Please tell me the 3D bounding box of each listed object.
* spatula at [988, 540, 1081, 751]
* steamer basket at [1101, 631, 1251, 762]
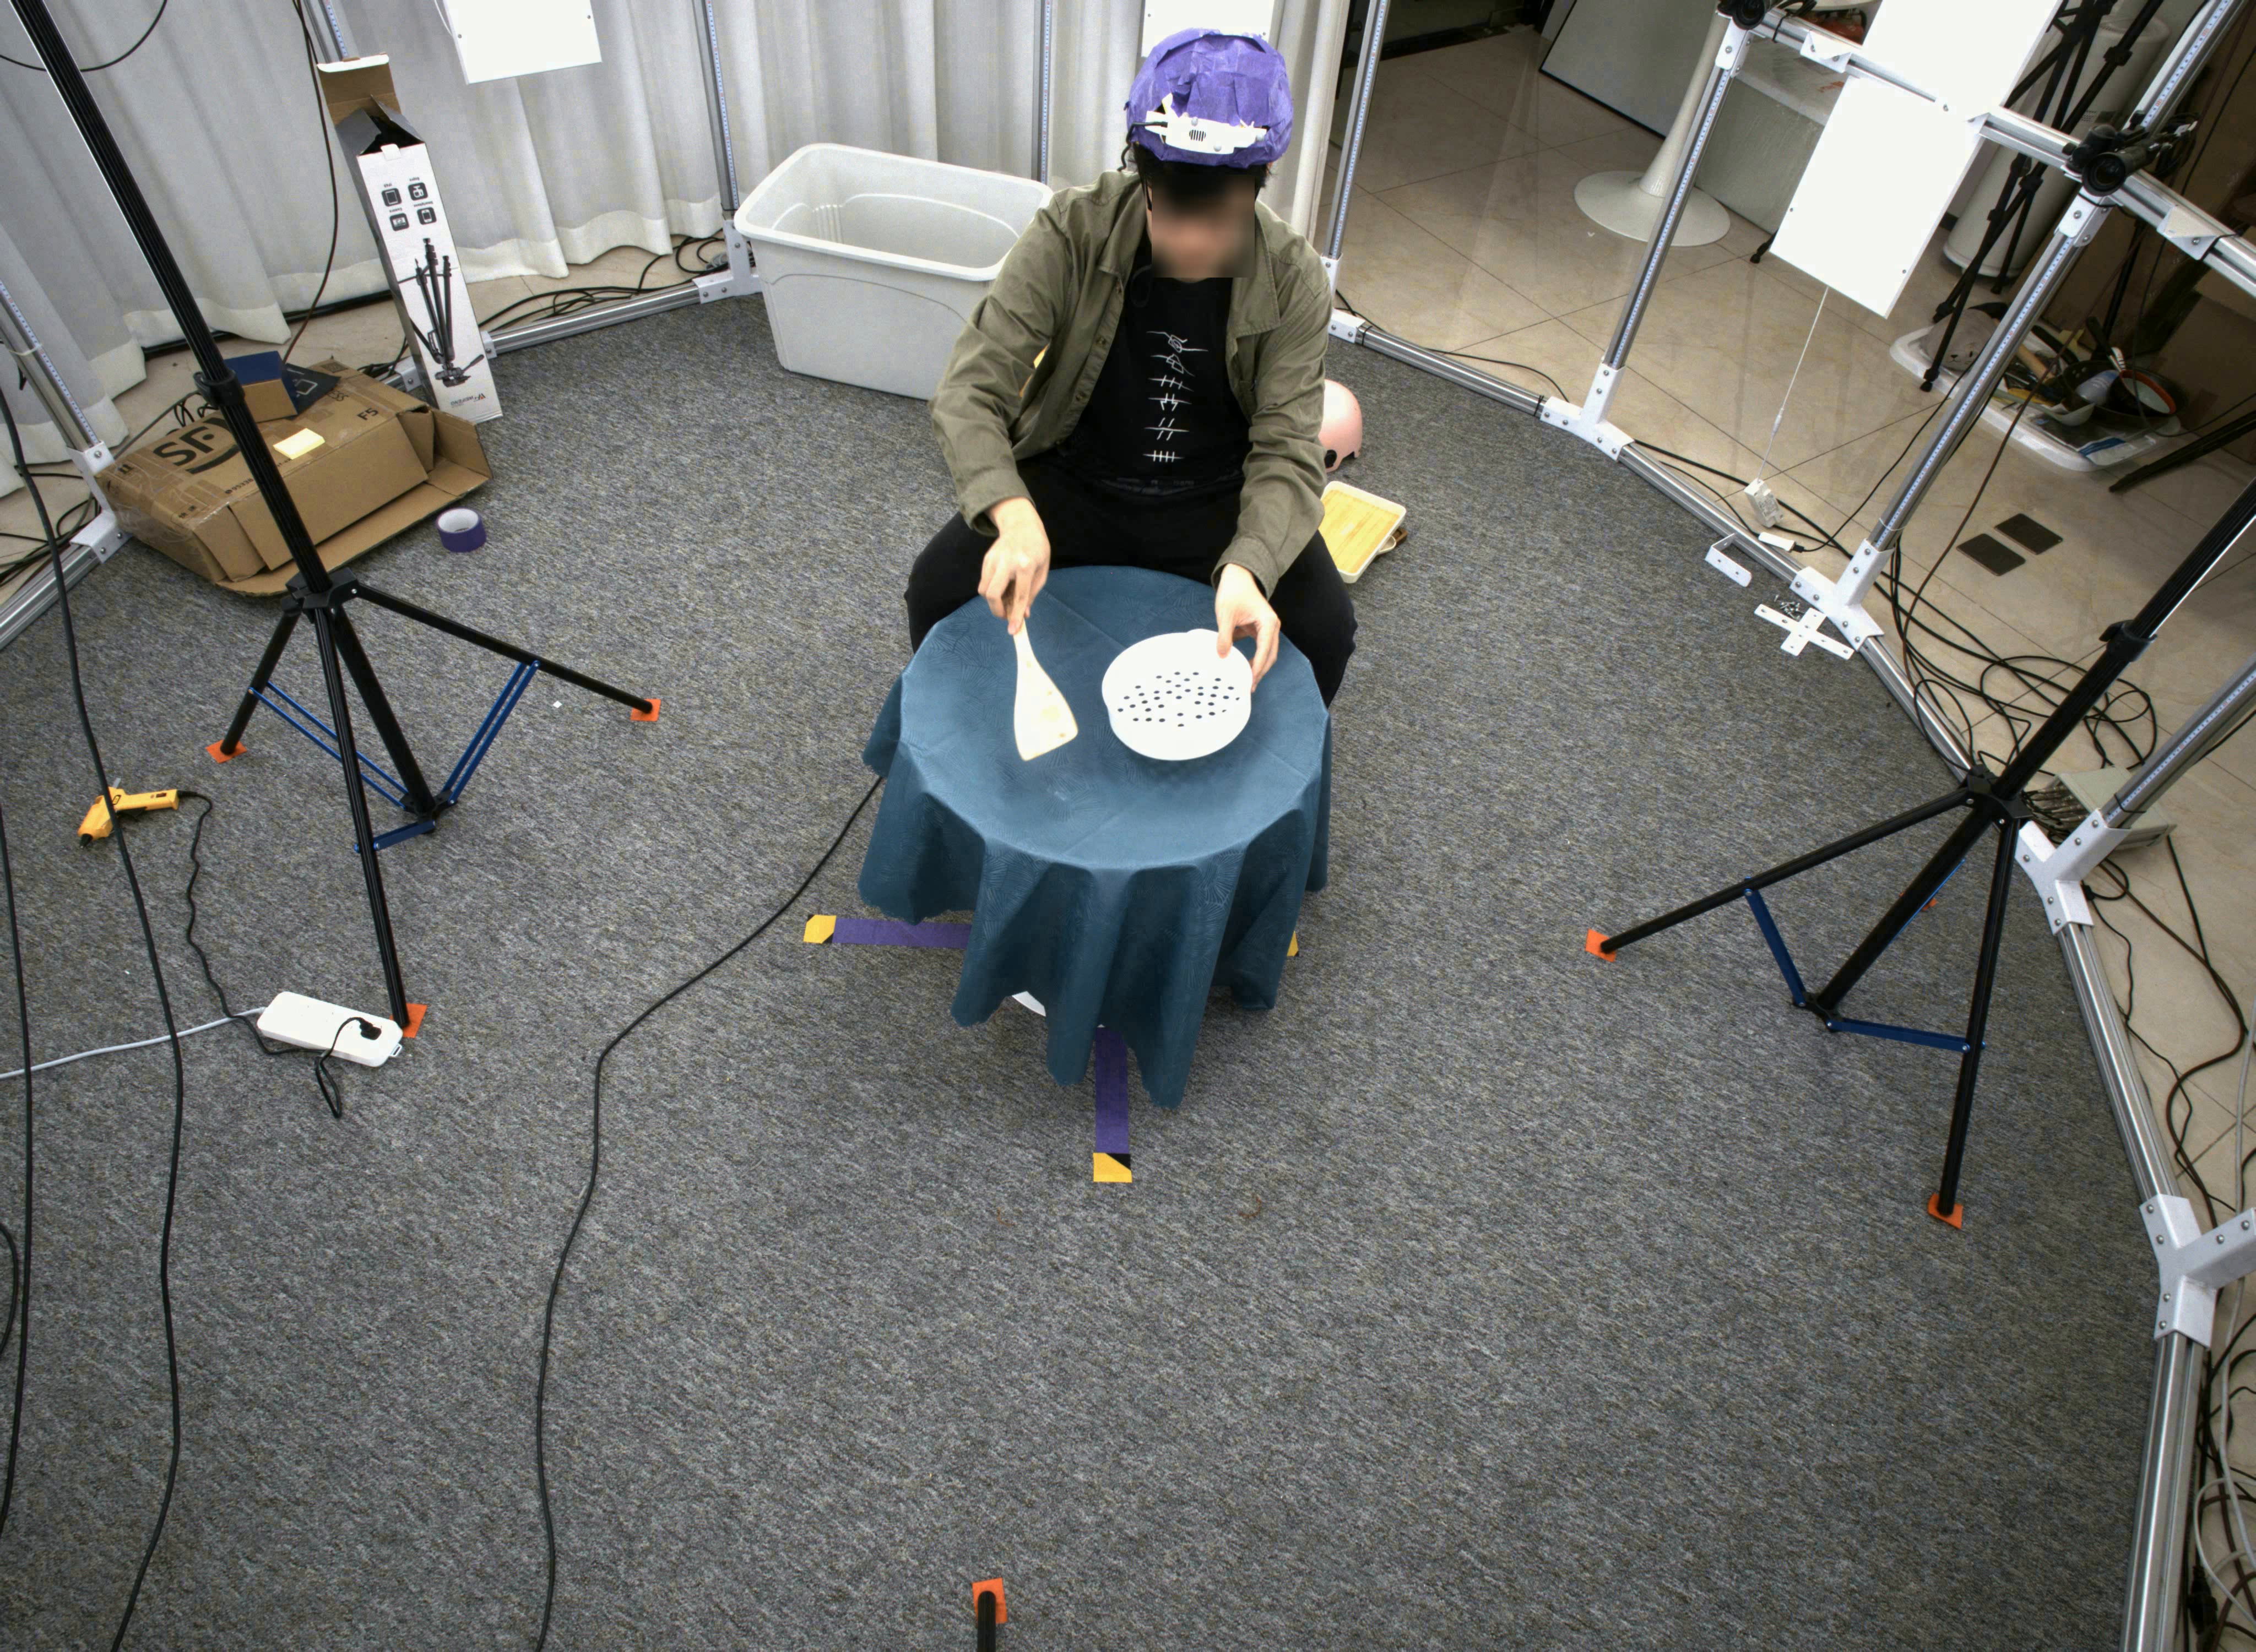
[{"bbox_3d":[-0.136,-0.247,1.694,0.080,0.016,0.334,-17,66,0],"label":"spatula"},{"bbox_3d":[0.065,-0.172,1.729,0.203,0.067,0.234,18,50,22],"label":"steamer basket"}]
